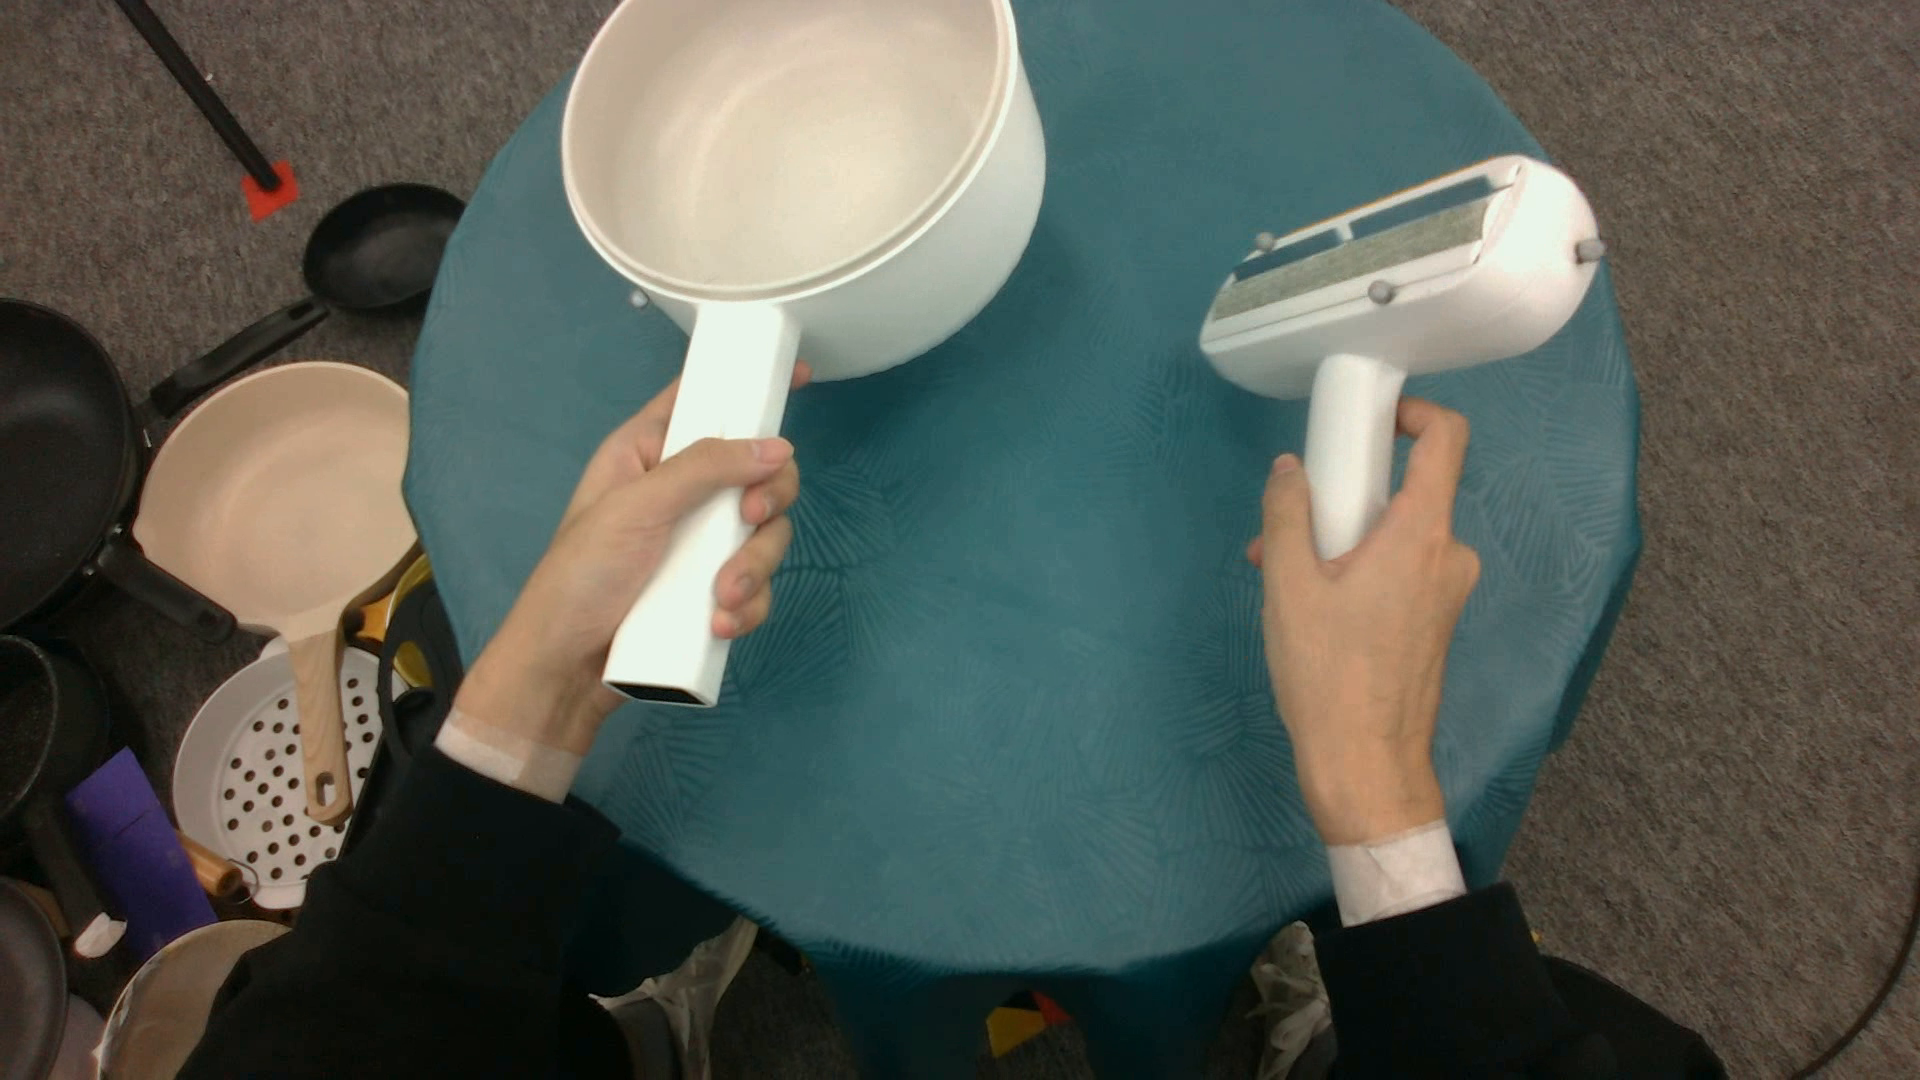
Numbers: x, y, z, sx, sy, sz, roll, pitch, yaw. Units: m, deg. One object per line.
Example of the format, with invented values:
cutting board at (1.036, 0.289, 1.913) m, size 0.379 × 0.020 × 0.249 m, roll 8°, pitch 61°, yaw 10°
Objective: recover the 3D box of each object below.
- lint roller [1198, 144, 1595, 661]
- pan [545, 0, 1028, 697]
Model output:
lint roller at (0.150, -0.049, 0.548) m, size 0.074 × 0.192 × 0.192 m, roll 23°, pitch 84°, yaw -25°
pan at (-0.081, -0.102, 0.585) m, size 0.201 × 0.102 × 0.356 m, roll 3°, pitch 70°, yaw 16°
